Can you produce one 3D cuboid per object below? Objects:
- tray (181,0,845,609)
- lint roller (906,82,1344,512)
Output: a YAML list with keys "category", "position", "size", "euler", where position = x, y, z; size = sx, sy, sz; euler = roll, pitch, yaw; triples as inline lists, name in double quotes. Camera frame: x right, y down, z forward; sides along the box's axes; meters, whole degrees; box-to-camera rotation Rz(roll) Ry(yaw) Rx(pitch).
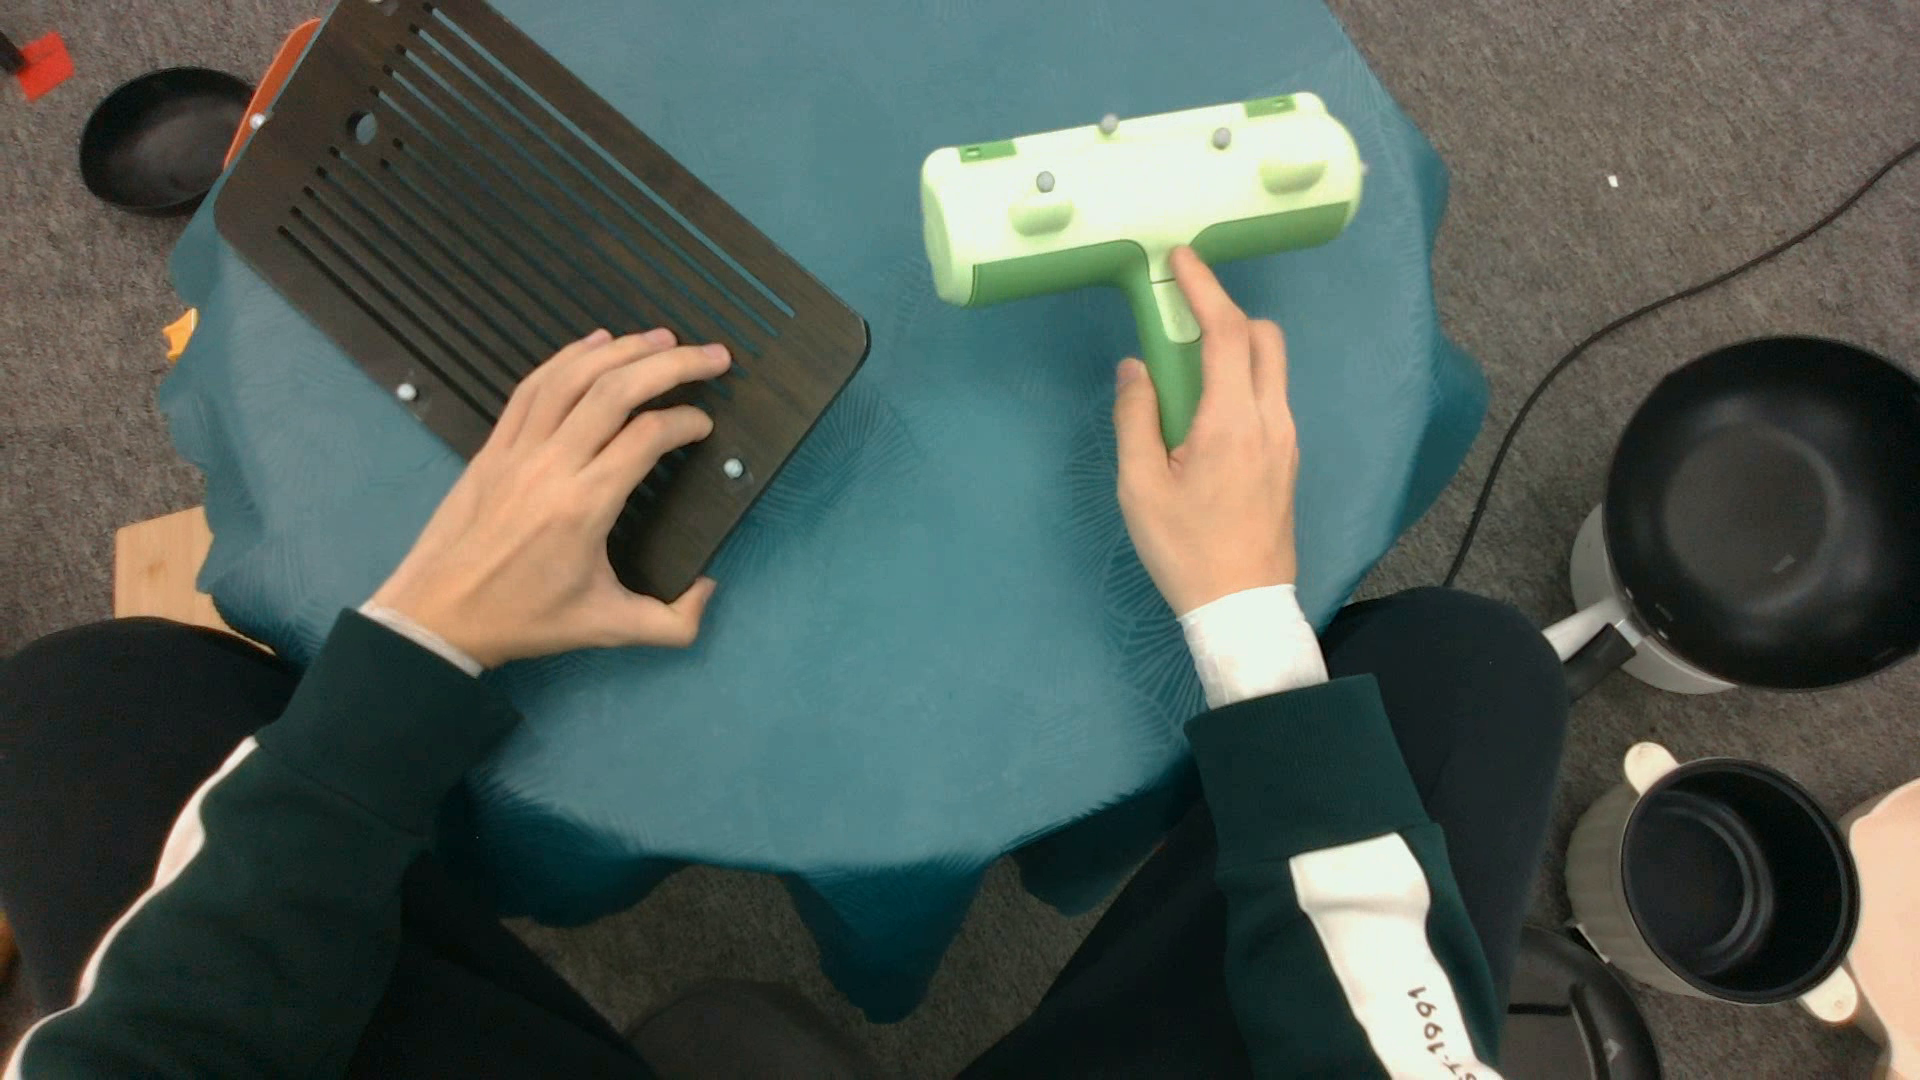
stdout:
- category: "tray"
  position: [-0.211, -0.123, 0.633]
  size: [0.306, 0.018, 0.170]
  euler: [39, 99, 9]
- category: "lint roller"
  position: [0.089, -0.108, 0.607]
  size: [0.199, 0.082, 0.183]
  euler: [-11, 77, -10]
